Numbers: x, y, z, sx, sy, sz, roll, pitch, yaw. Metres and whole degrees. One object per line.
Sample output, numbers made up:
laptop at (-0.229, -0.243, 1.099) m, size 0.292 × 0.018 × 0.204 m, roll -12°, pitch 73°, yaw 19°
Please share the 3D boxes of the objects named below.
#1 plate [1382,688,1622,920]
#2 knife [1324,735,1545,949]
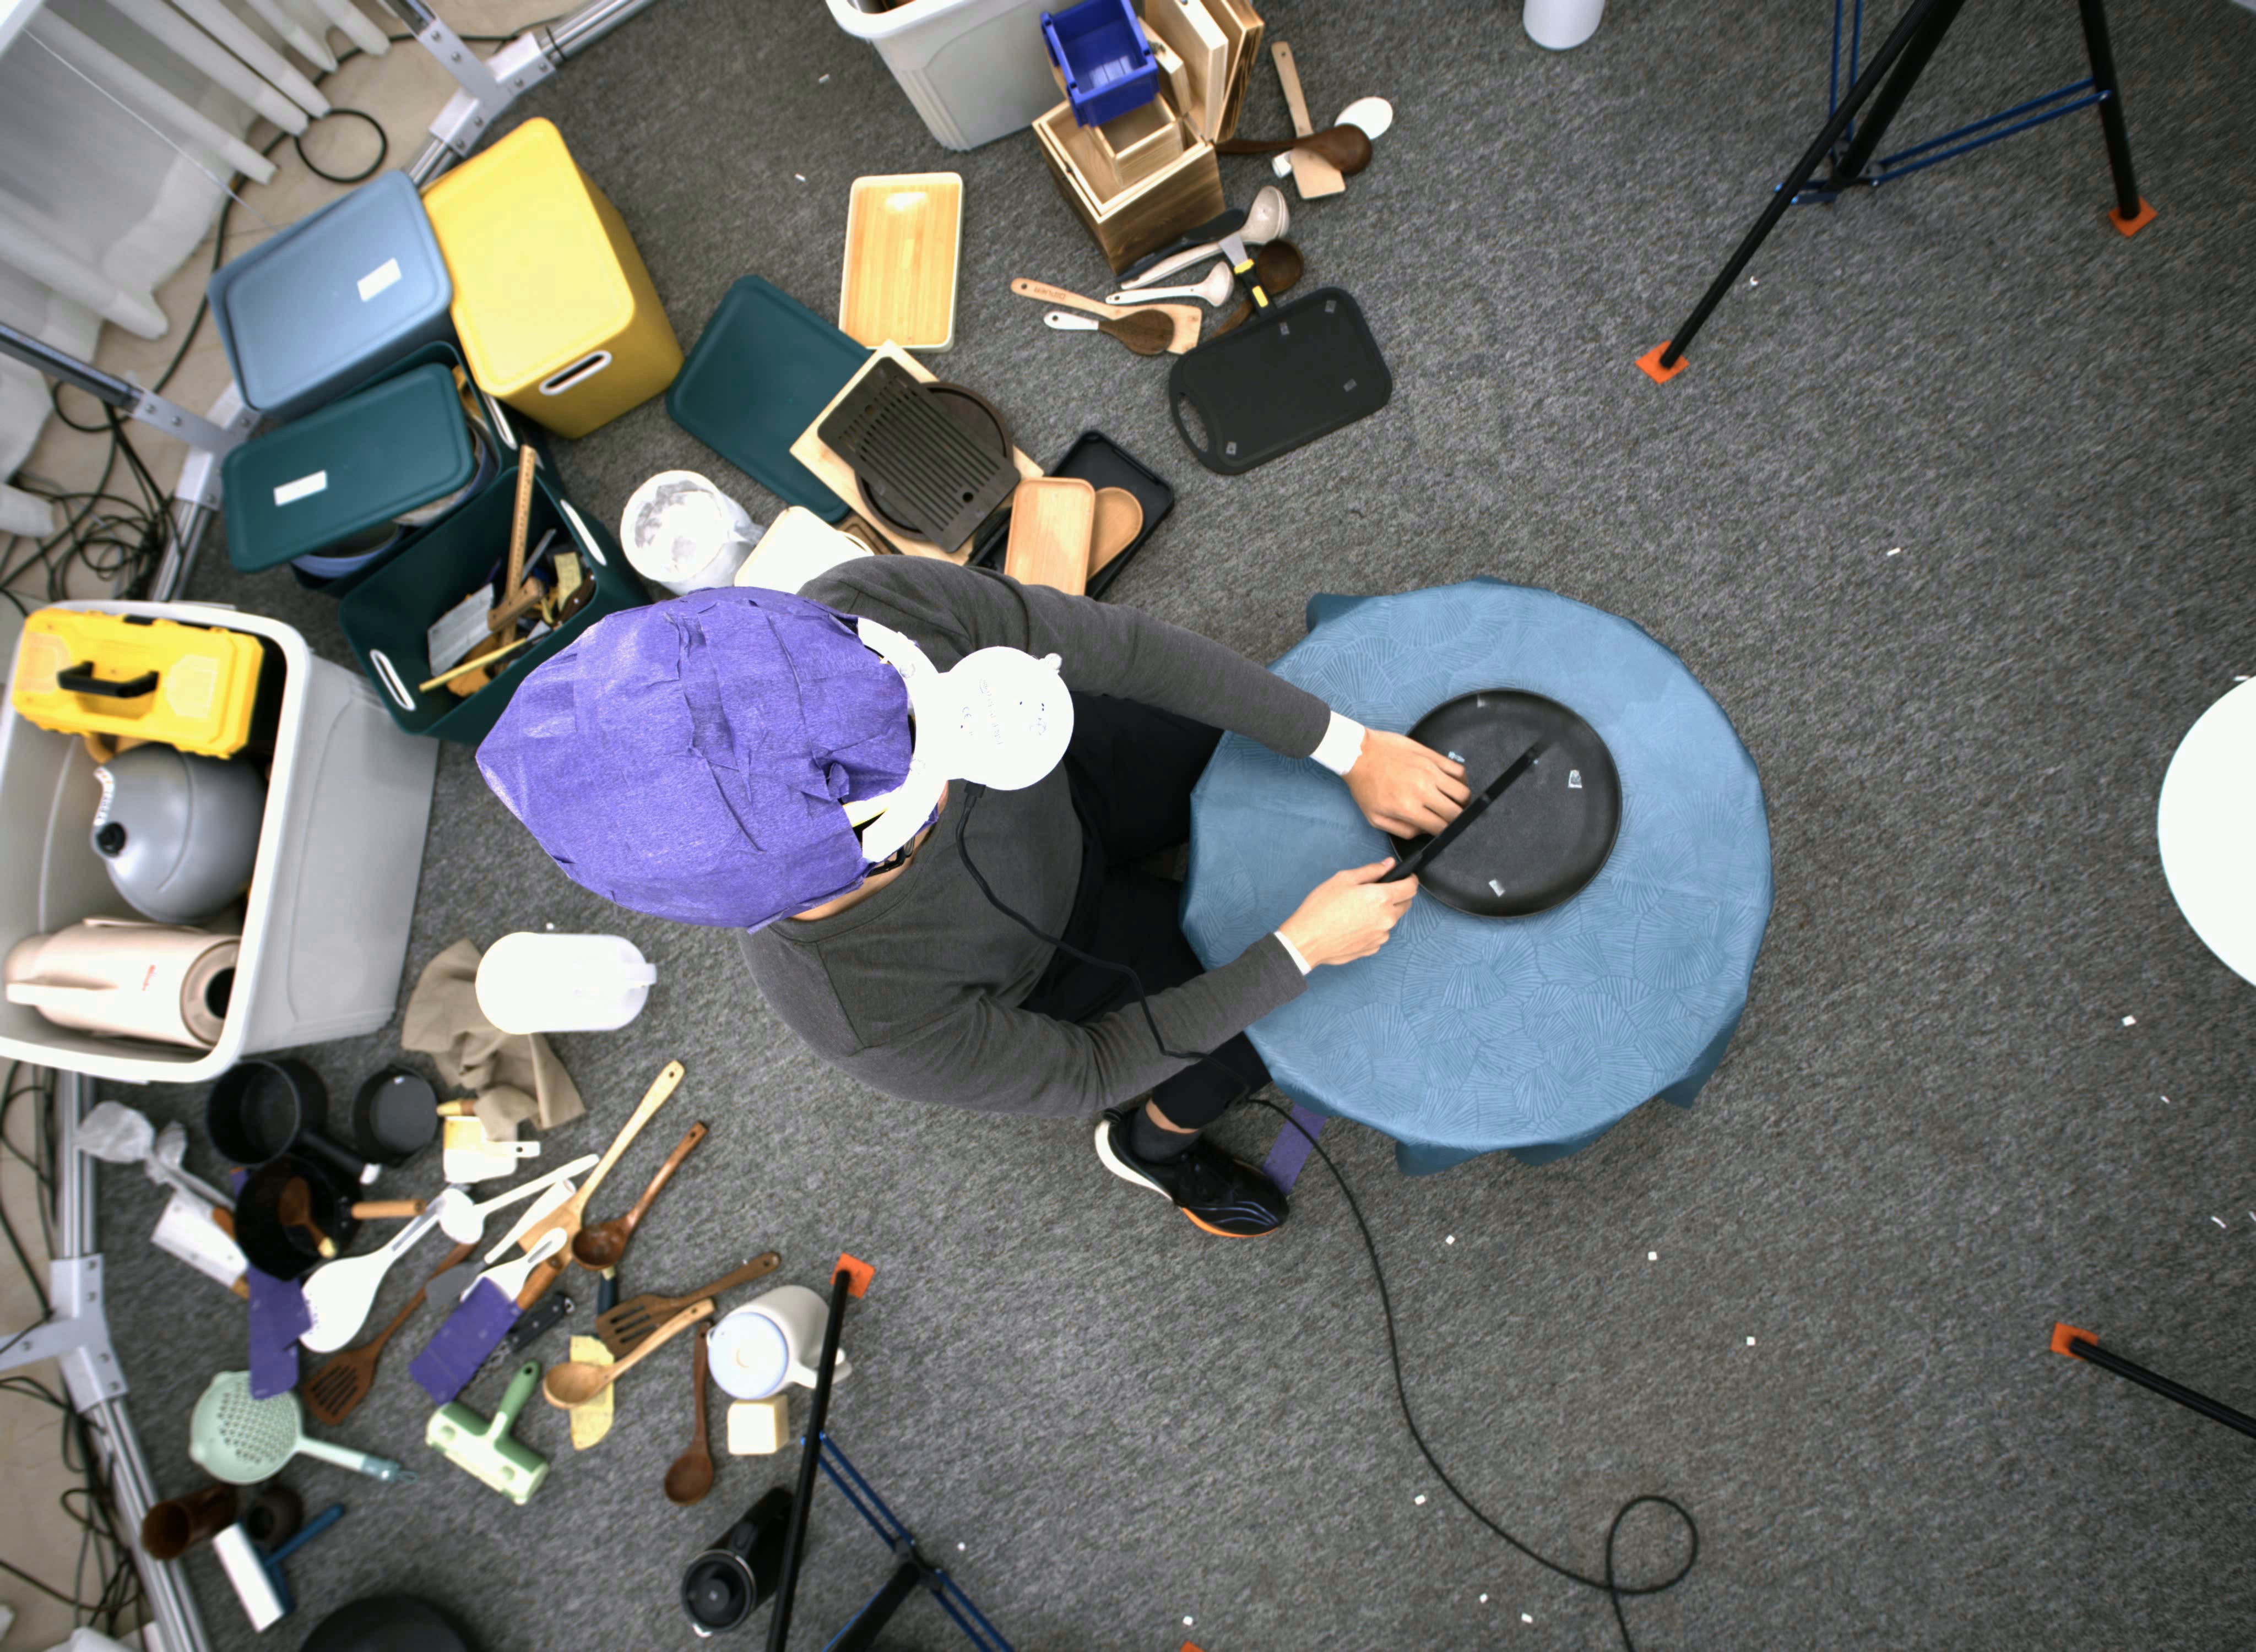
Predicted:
plate at (0.388, -0.025, 1.431) m, size 0.245 × 0.023 × 0.243 m, roll -1°, pitch 87°, yaw 10°
knife at (0.313, 0.016, 1.395) m, size 0.303 × 0.081 × 0.020 m, roll -42°, pitch 68°, yaw 2°
